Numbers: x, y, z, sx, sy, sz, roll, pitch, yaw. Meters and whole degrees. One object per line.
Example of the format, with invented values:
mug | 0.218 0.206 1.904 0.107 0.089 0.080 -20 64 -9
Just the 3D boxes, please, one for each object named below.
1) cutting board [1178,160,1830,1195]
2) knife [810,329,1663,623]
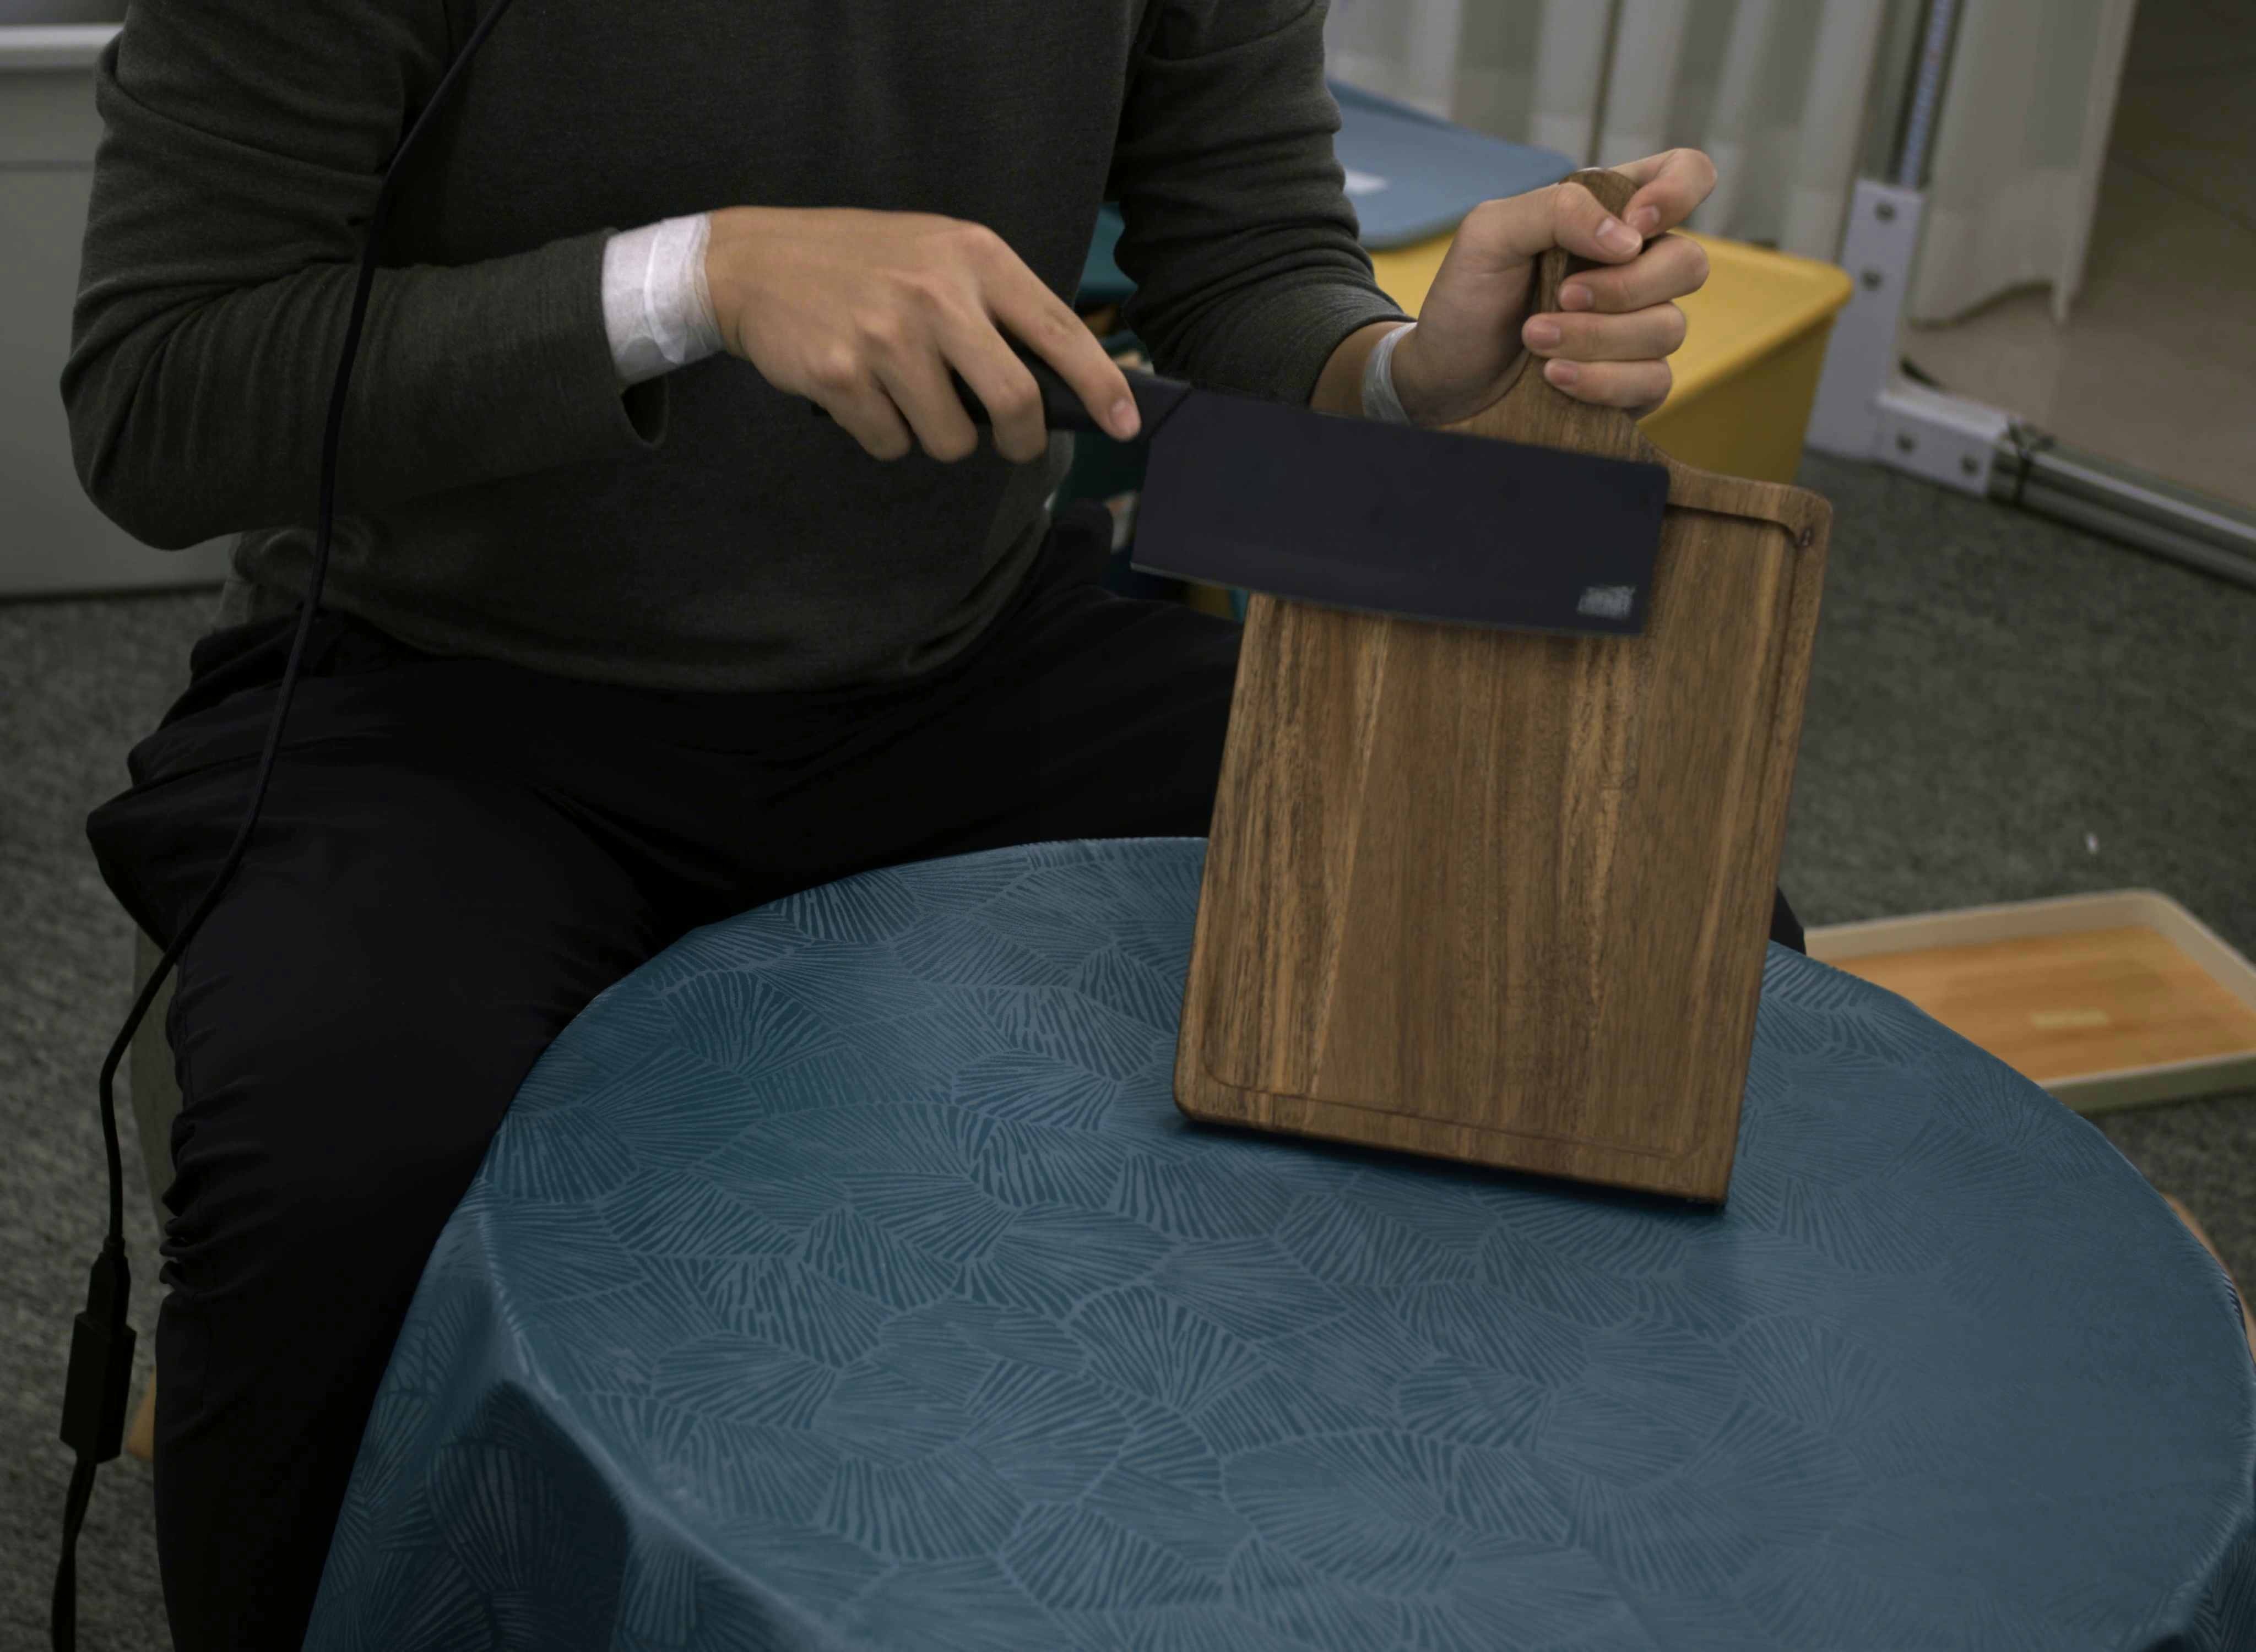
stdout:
cutting board | 0.138 -0.057 1.851 0.201 0.353 0.023 9 -4 4
knife | 0.035 -0.125 1.854 0.302 0.081 0.021 14 -1 9
